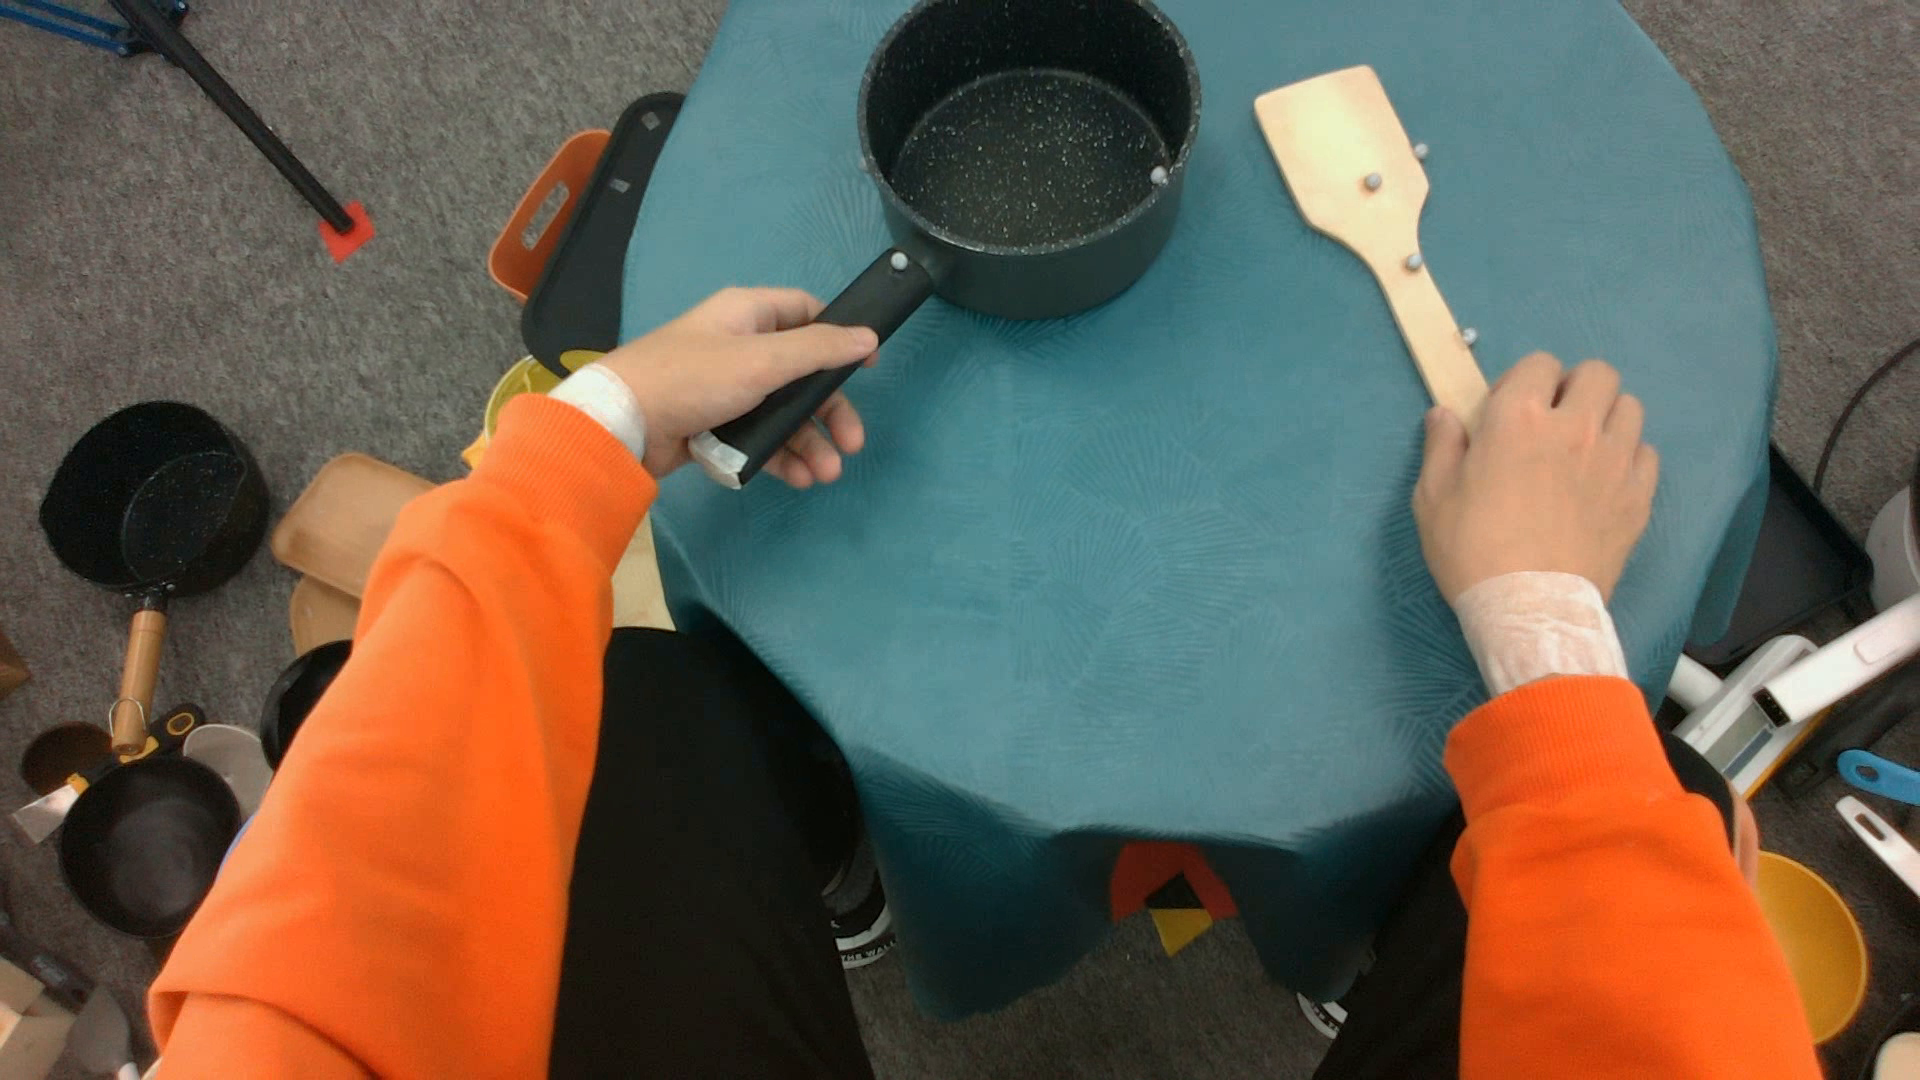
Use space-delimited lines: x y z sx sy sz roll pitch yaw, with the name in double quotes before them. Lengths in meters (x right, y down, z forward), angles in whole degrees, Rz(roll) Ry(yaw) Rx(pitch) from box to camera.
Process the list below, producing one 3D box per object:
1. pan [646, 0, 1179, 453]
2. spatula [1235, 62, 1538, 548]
"pan" -0.025 -0.154 0.698 0.172 0.086 0.329 37 74 16
"spatula" 0.225 -0.127 0.710 0.072 0.010 0.293 -16 69 -6
